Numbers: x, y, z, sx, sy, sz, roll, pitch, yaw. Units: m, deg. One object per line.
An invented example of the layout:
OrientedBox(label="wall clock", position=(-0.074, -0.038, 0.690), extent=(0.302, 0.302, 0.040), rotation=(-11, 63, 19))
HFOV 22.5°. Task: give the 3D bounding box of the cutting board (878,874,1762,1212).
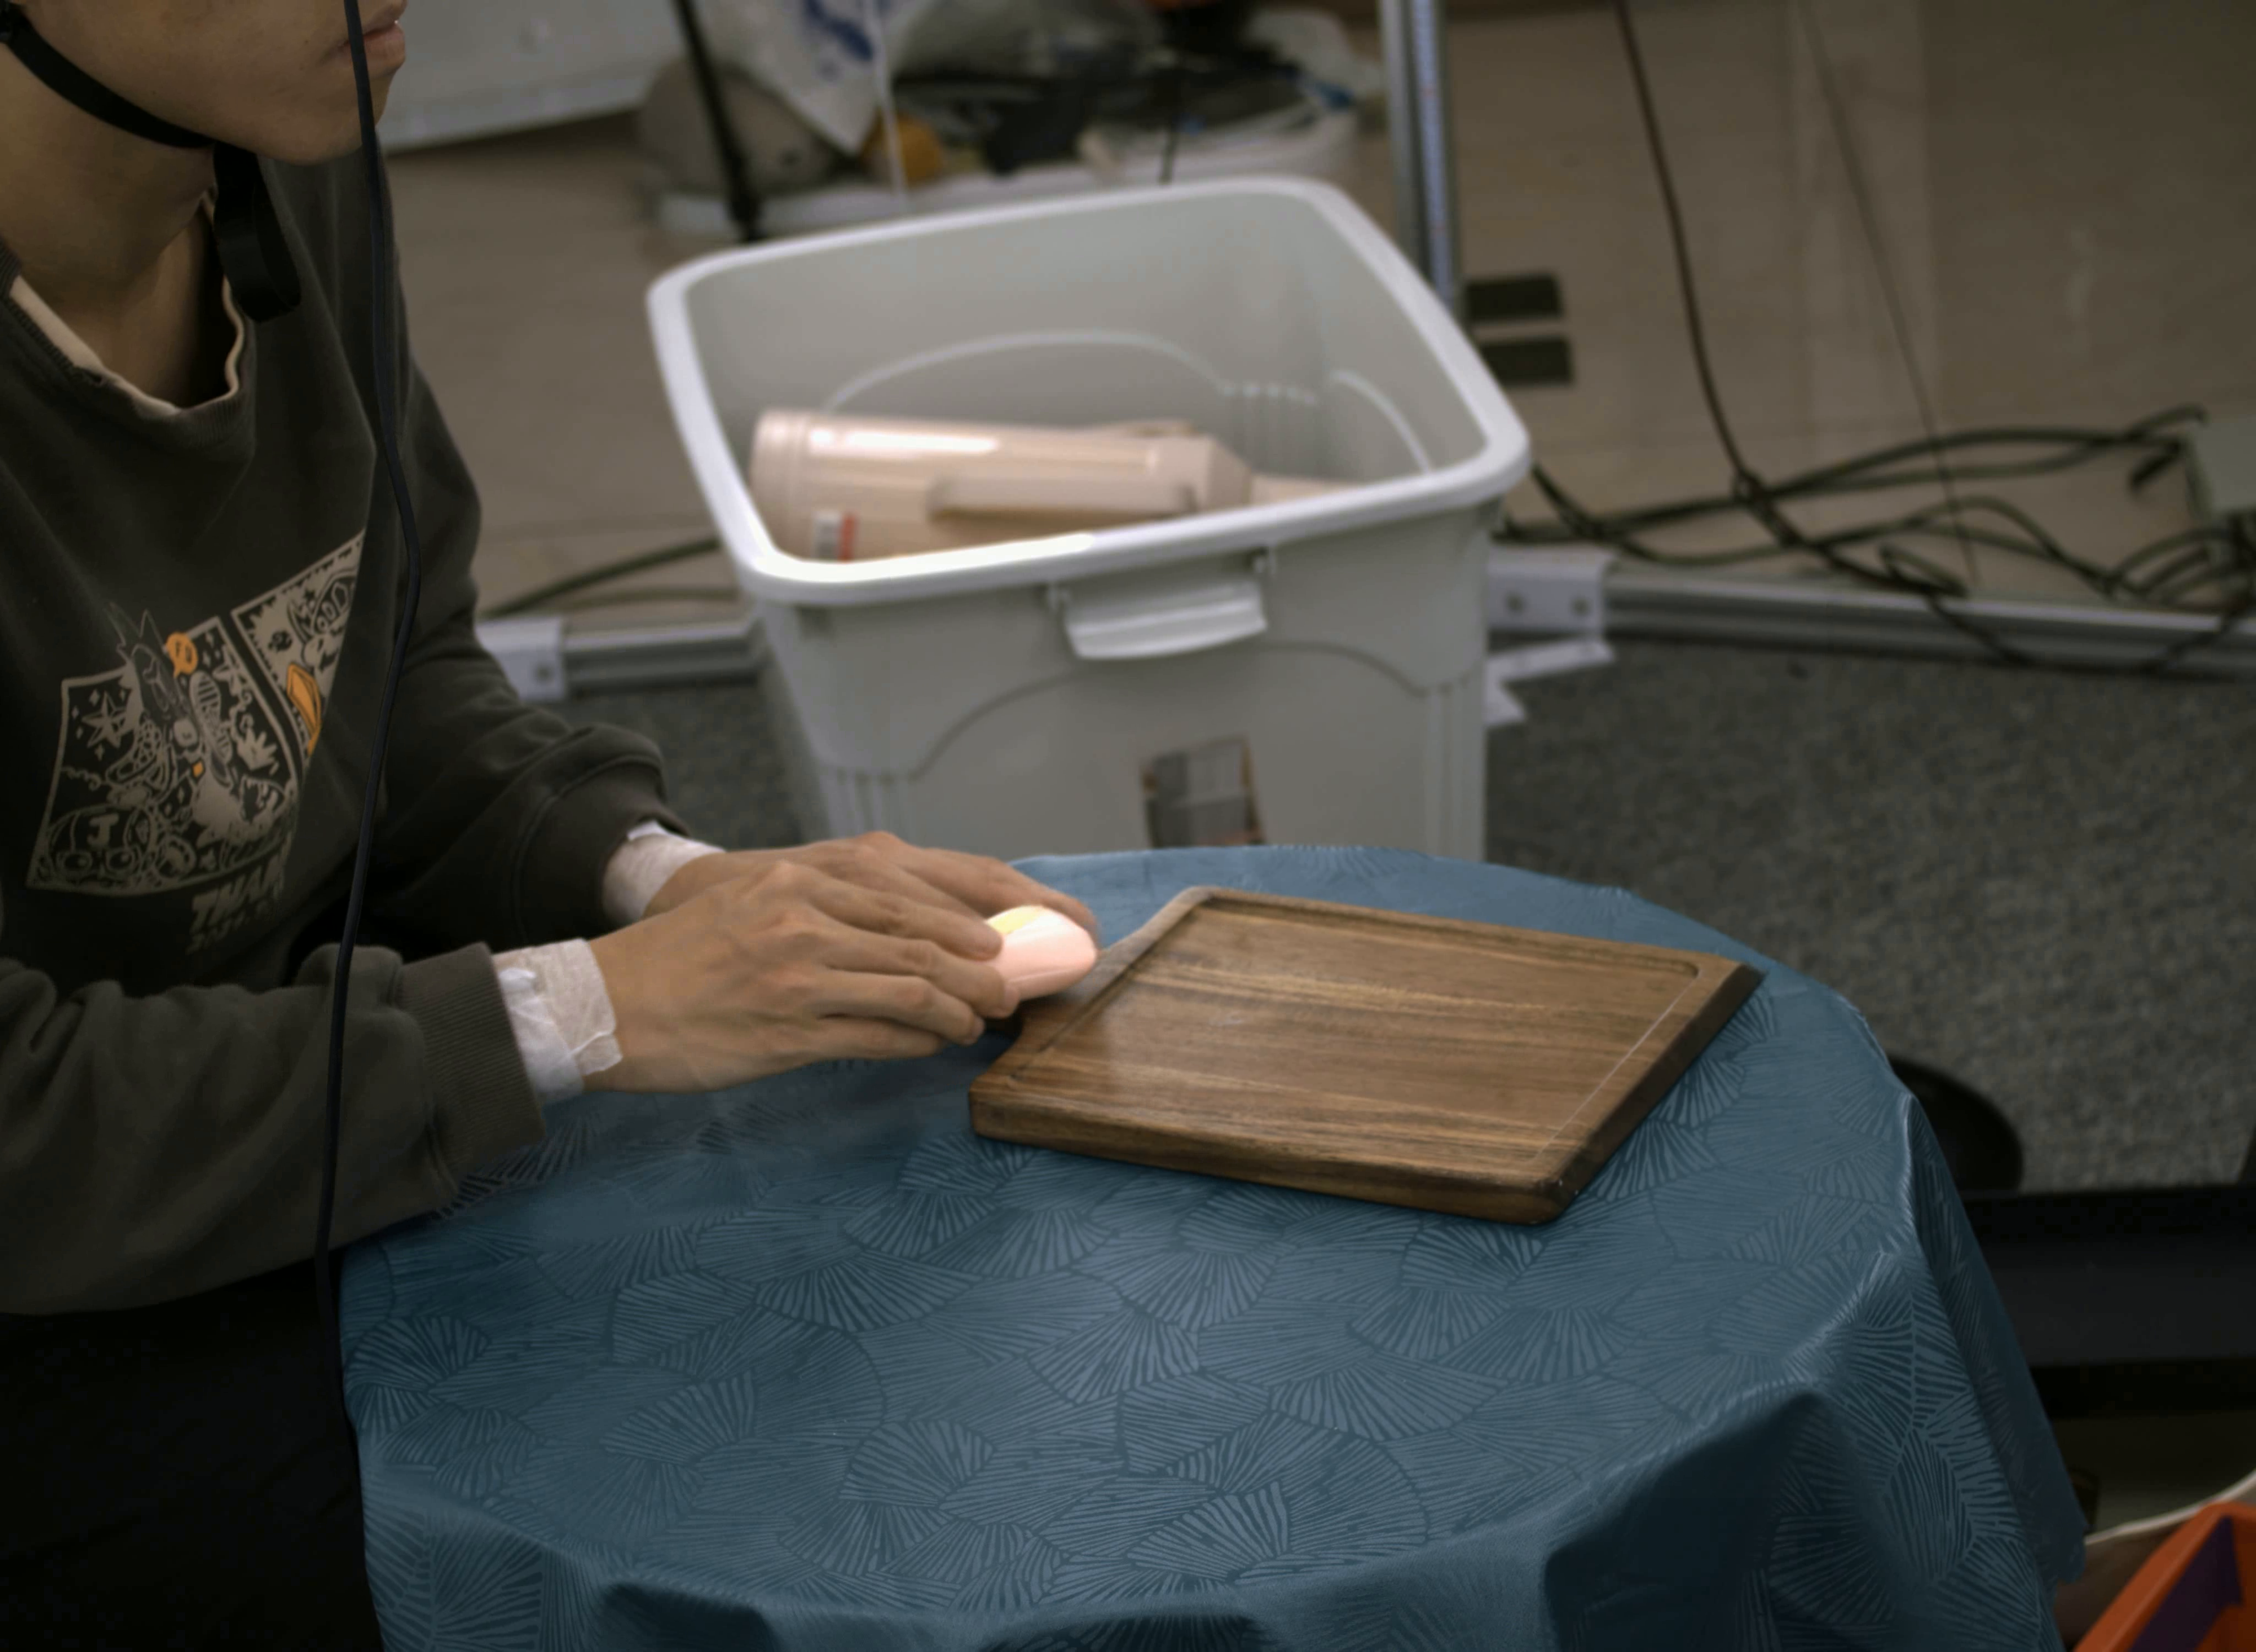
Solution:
OrientedBox(label="cutting board", position=(0.055, 0.075, 2.244), extent=(0.350, 0.023, 0.198), rotation=(8, 29, 29))

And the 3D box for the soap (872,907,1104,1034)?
OrientedBox(label="soap", position=(-0.055, 0.057, 2.247), extent=(0.094, 0.031, 0.050), rotation=(-18, 27, -29))
